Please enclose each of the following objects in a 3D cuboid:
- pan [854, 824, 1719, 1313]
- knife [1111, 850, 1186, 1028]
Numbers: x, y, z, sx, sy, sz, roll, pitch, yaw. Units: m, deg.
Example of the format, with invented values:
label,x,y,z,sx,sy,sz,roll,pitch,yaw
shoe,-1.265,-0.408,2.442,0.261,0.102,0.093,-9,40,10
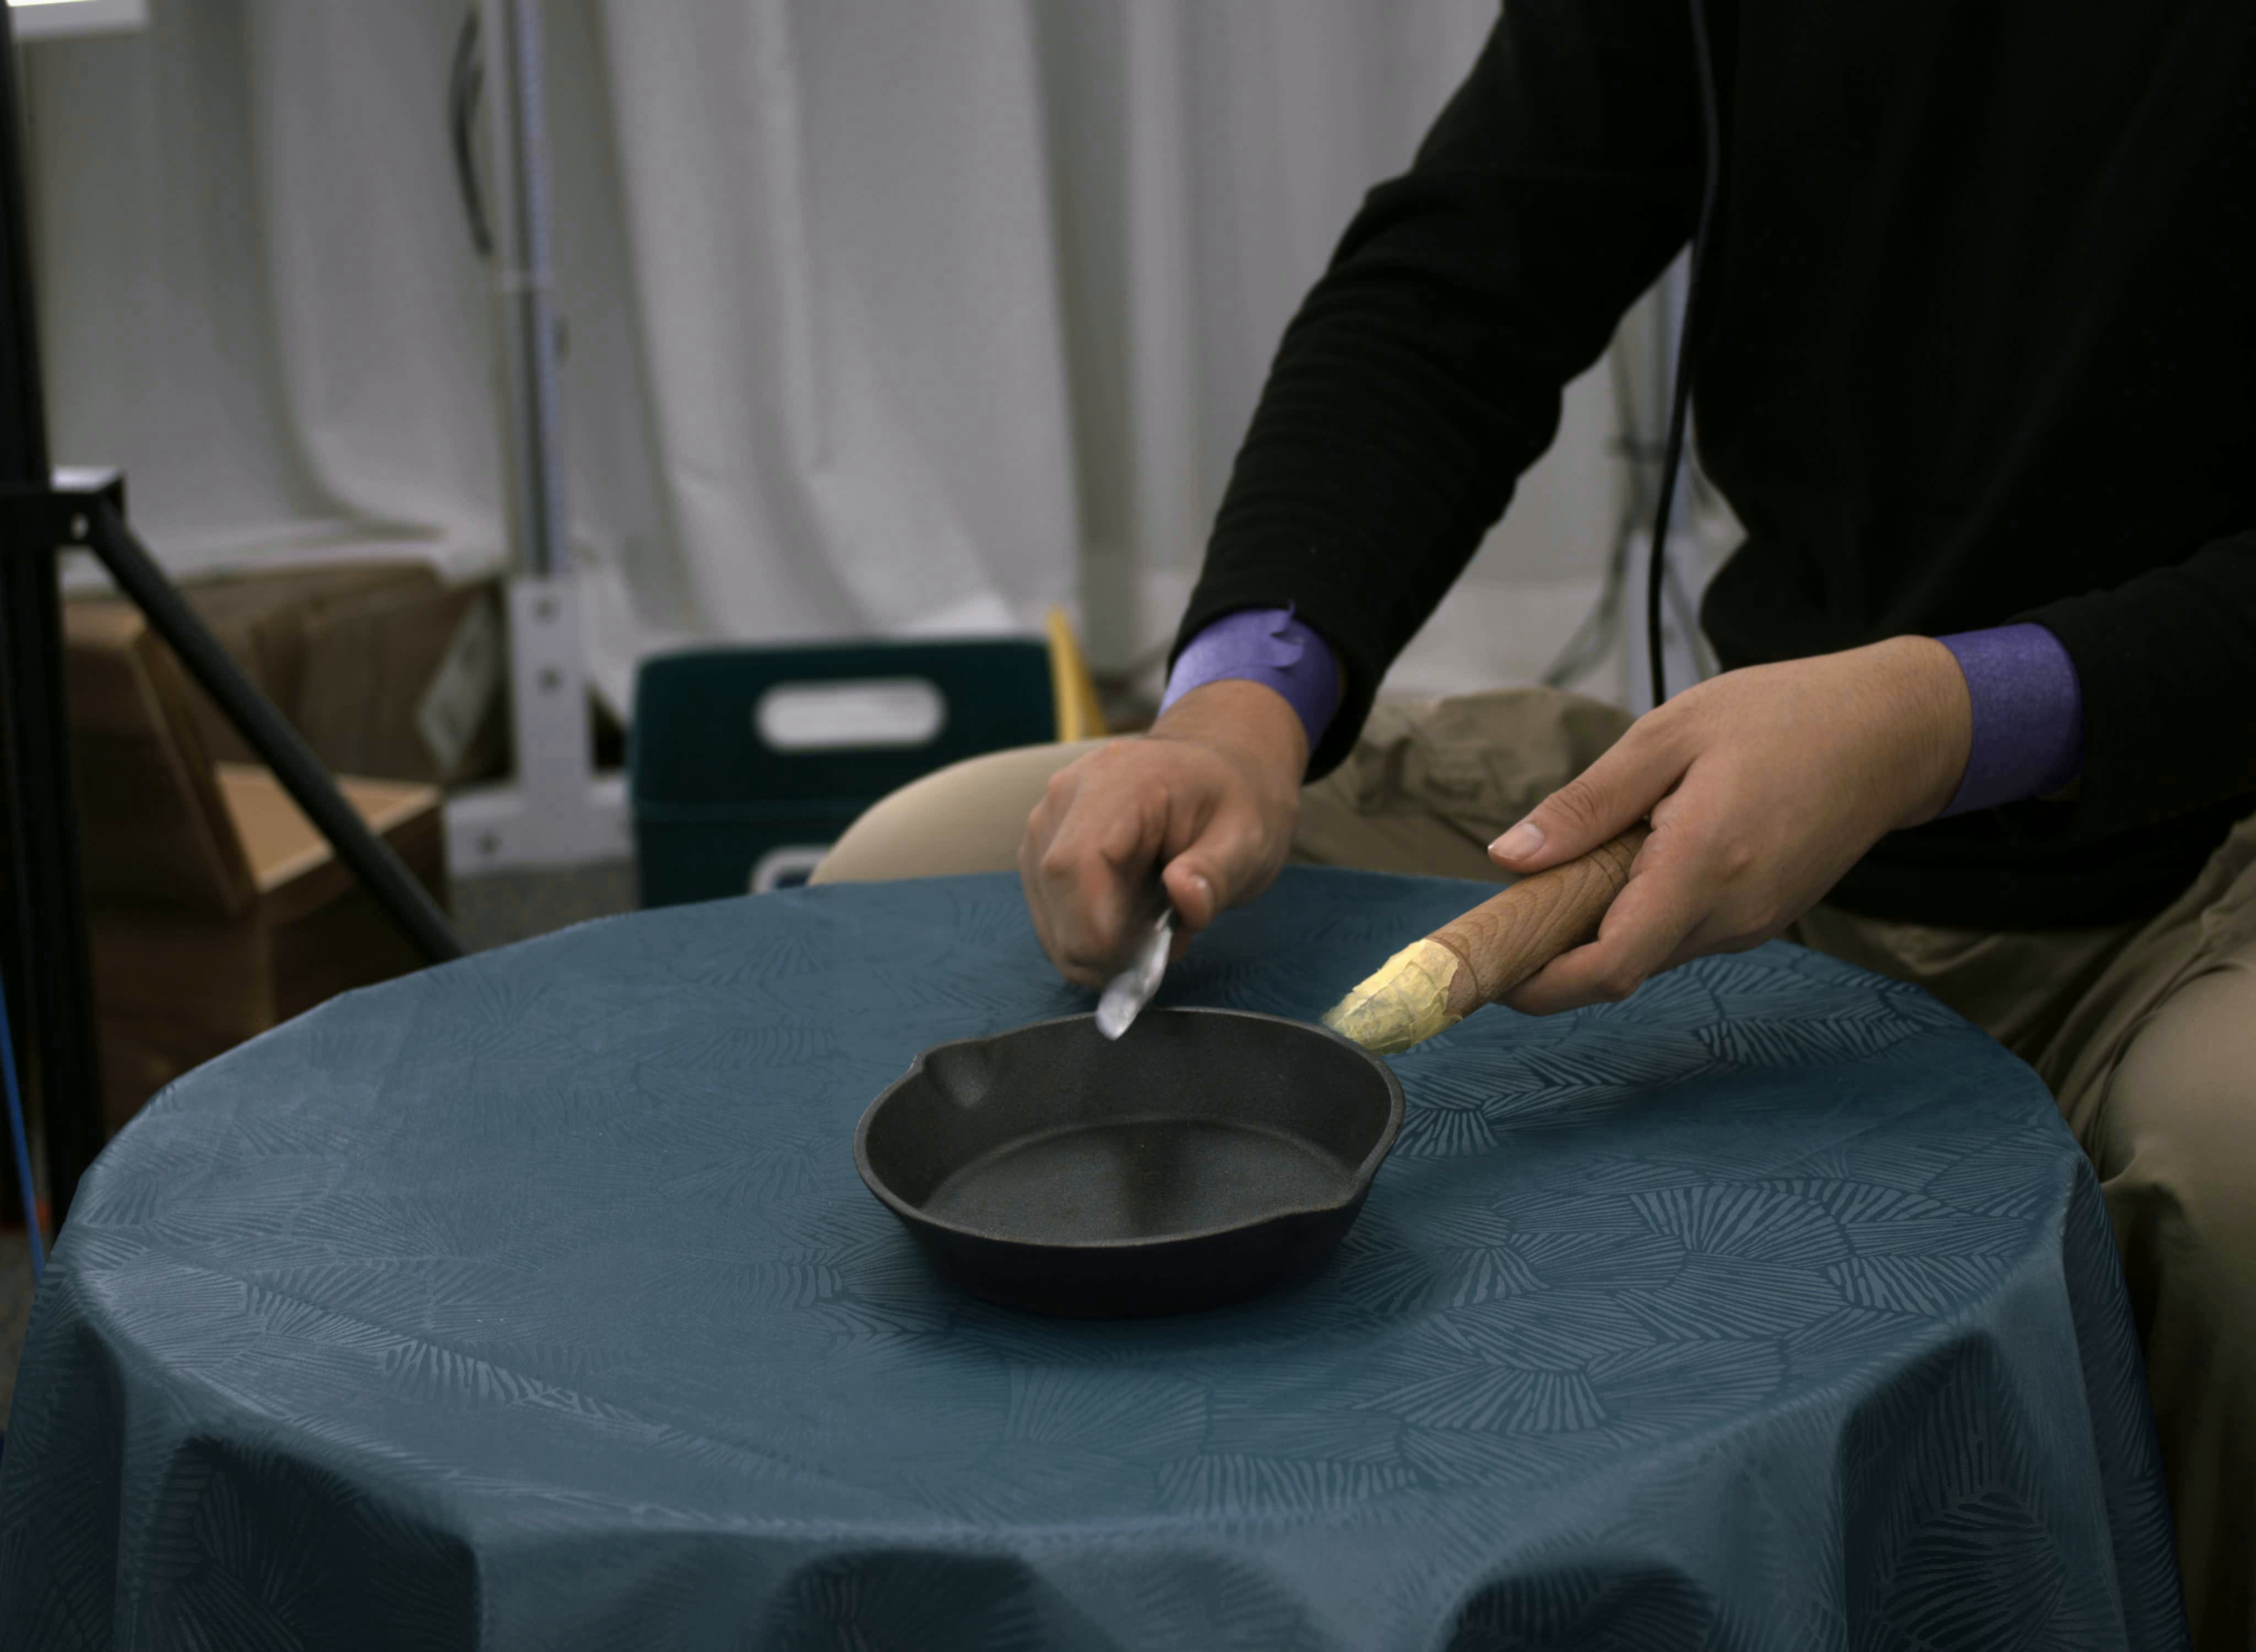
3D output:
label,x,y,z,sx,sy,sz,roll,pitch,yaw
pan,0.063,0.066,1.552,0.317,0.049,0.173,-21,26,-35
knife,0.006,0.037,1.618,0.024,0.016,0.238,-26,8,6
